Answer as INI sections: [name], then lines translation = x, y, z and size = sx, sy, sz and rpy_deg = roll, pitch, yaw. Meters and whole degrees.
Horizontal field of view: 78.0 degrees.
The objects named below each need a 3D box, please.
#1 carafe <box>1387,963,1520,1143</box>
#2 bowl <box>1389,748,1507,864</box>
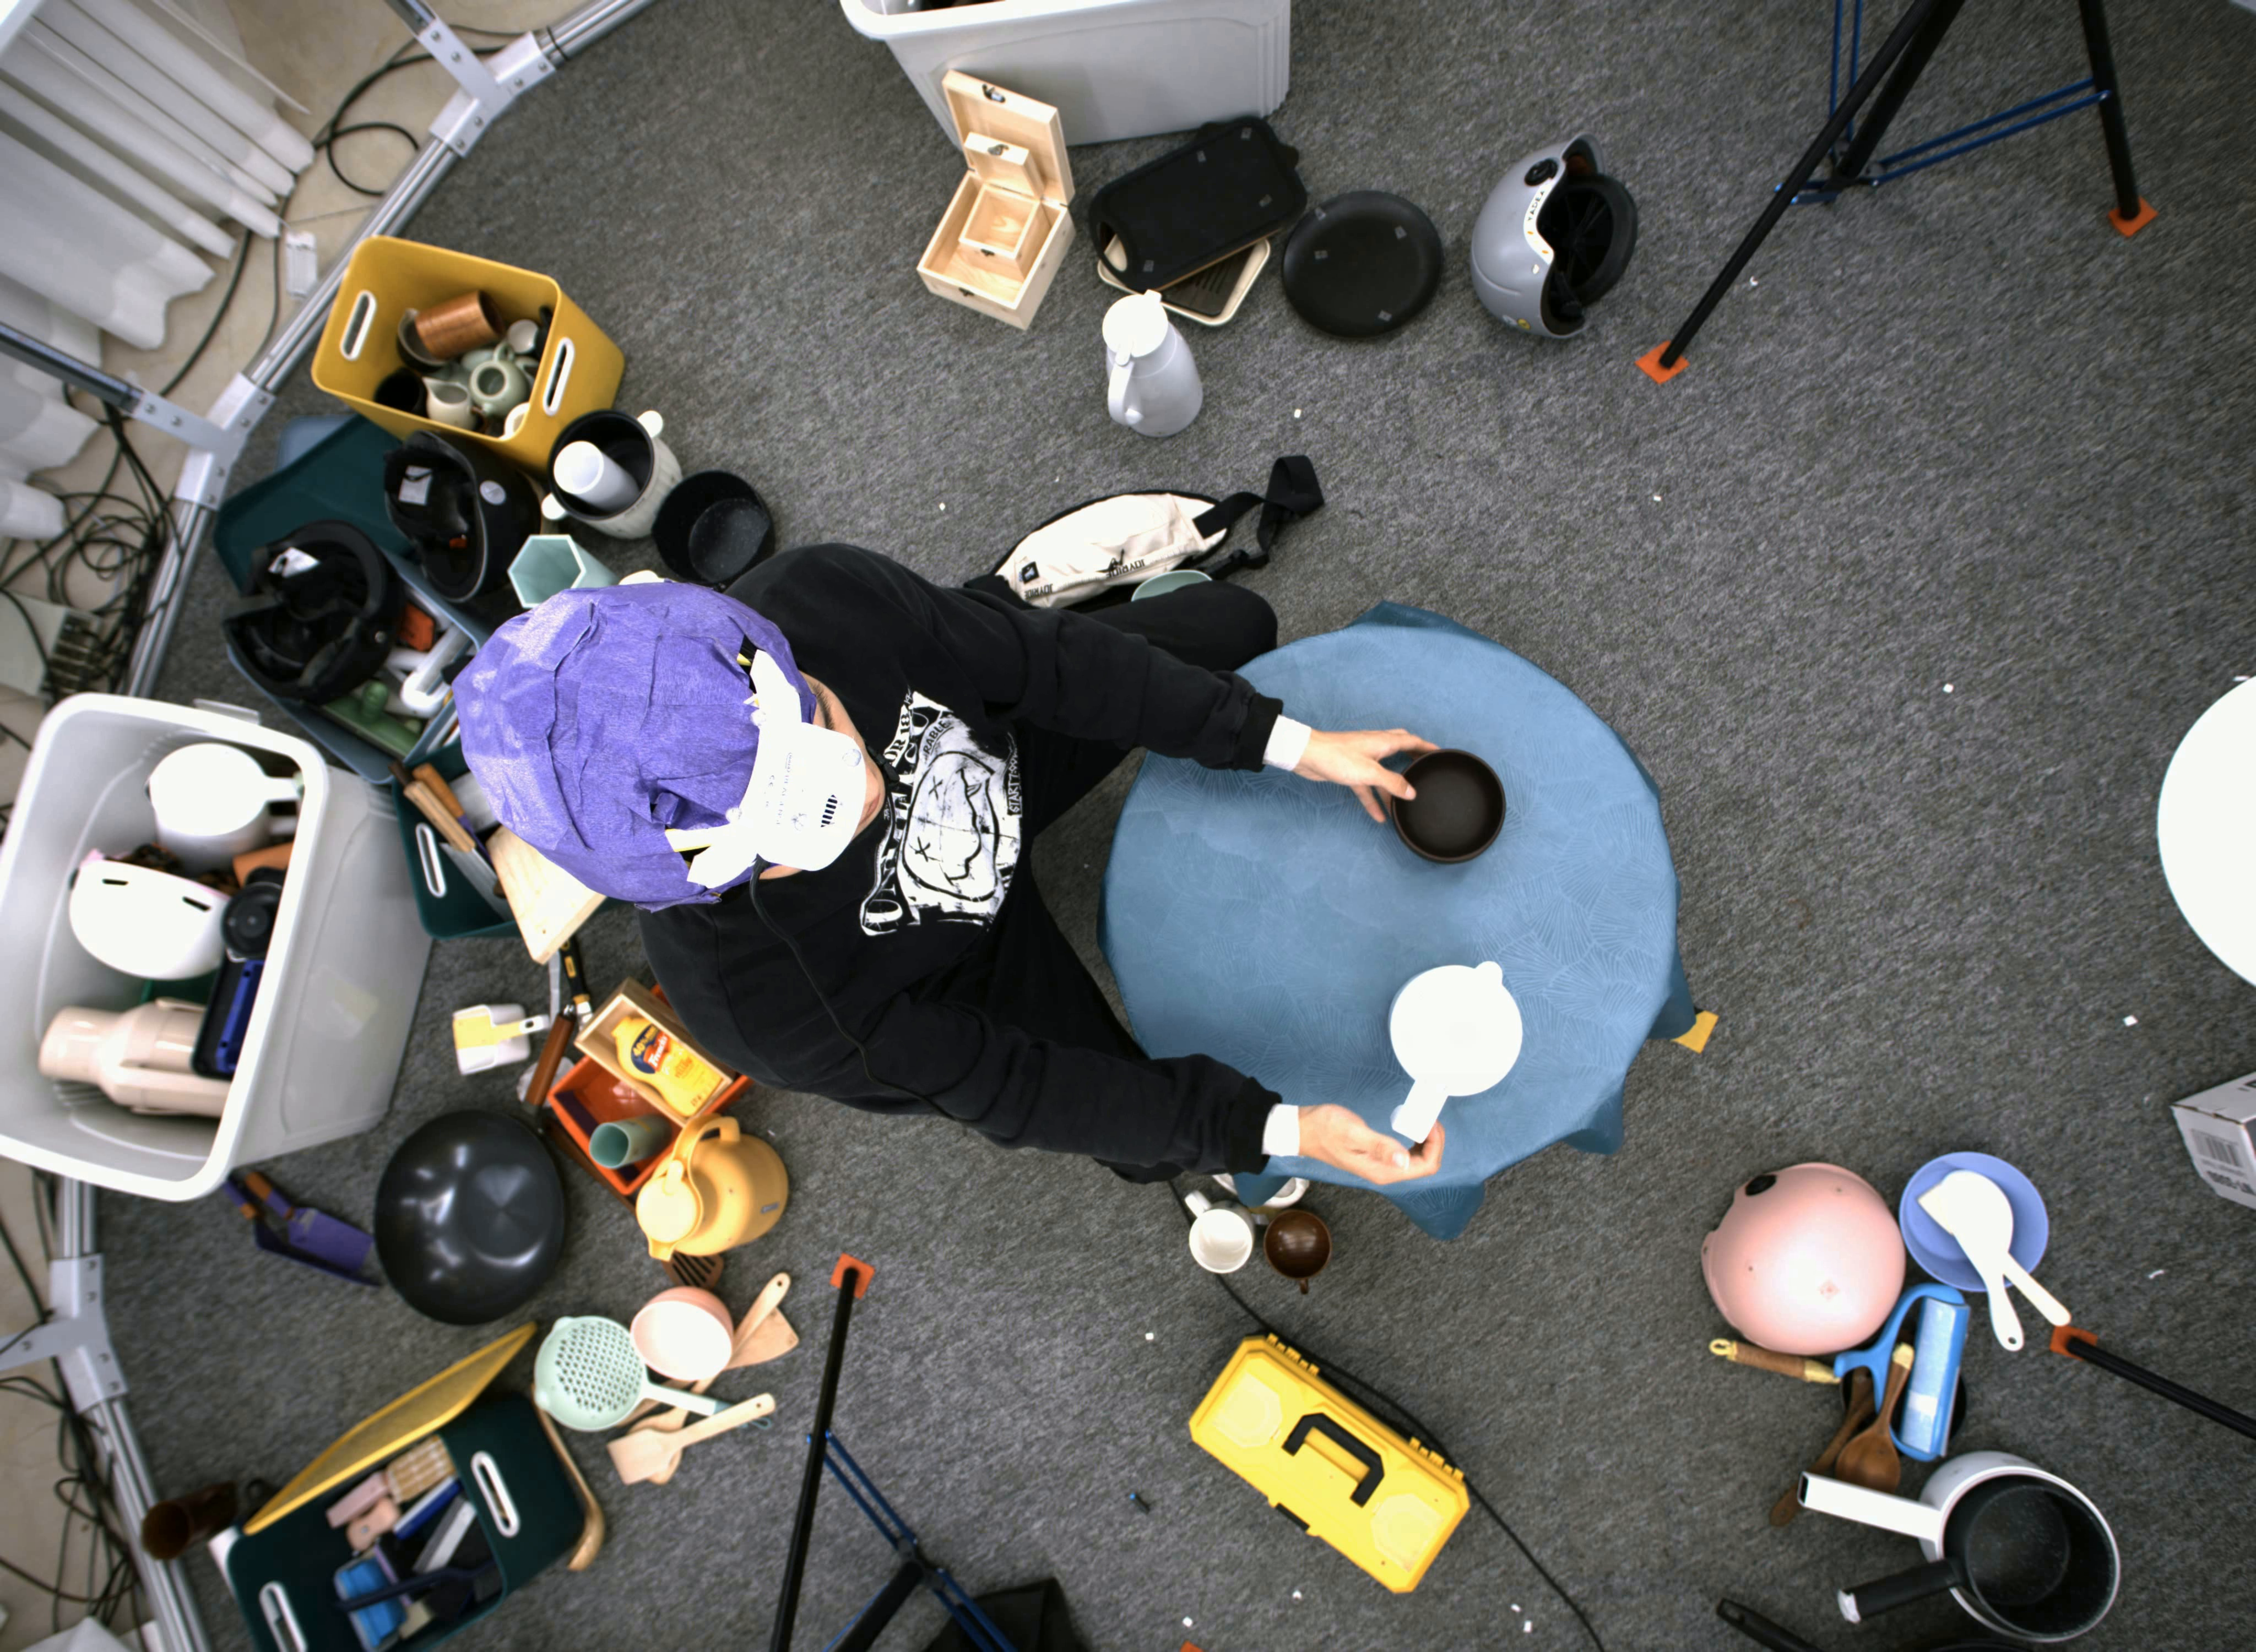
[carafe]
translation = 0.301, 0.207, 1.313
size = 0.124, 0.269, 0.173
rpy_deg = 26, 90, 9
[bowl]
translation = 0.328, -0.020, 1.417
size = 0.118, 0.070, 0.117
rpy_deg = -1, 87, 11
